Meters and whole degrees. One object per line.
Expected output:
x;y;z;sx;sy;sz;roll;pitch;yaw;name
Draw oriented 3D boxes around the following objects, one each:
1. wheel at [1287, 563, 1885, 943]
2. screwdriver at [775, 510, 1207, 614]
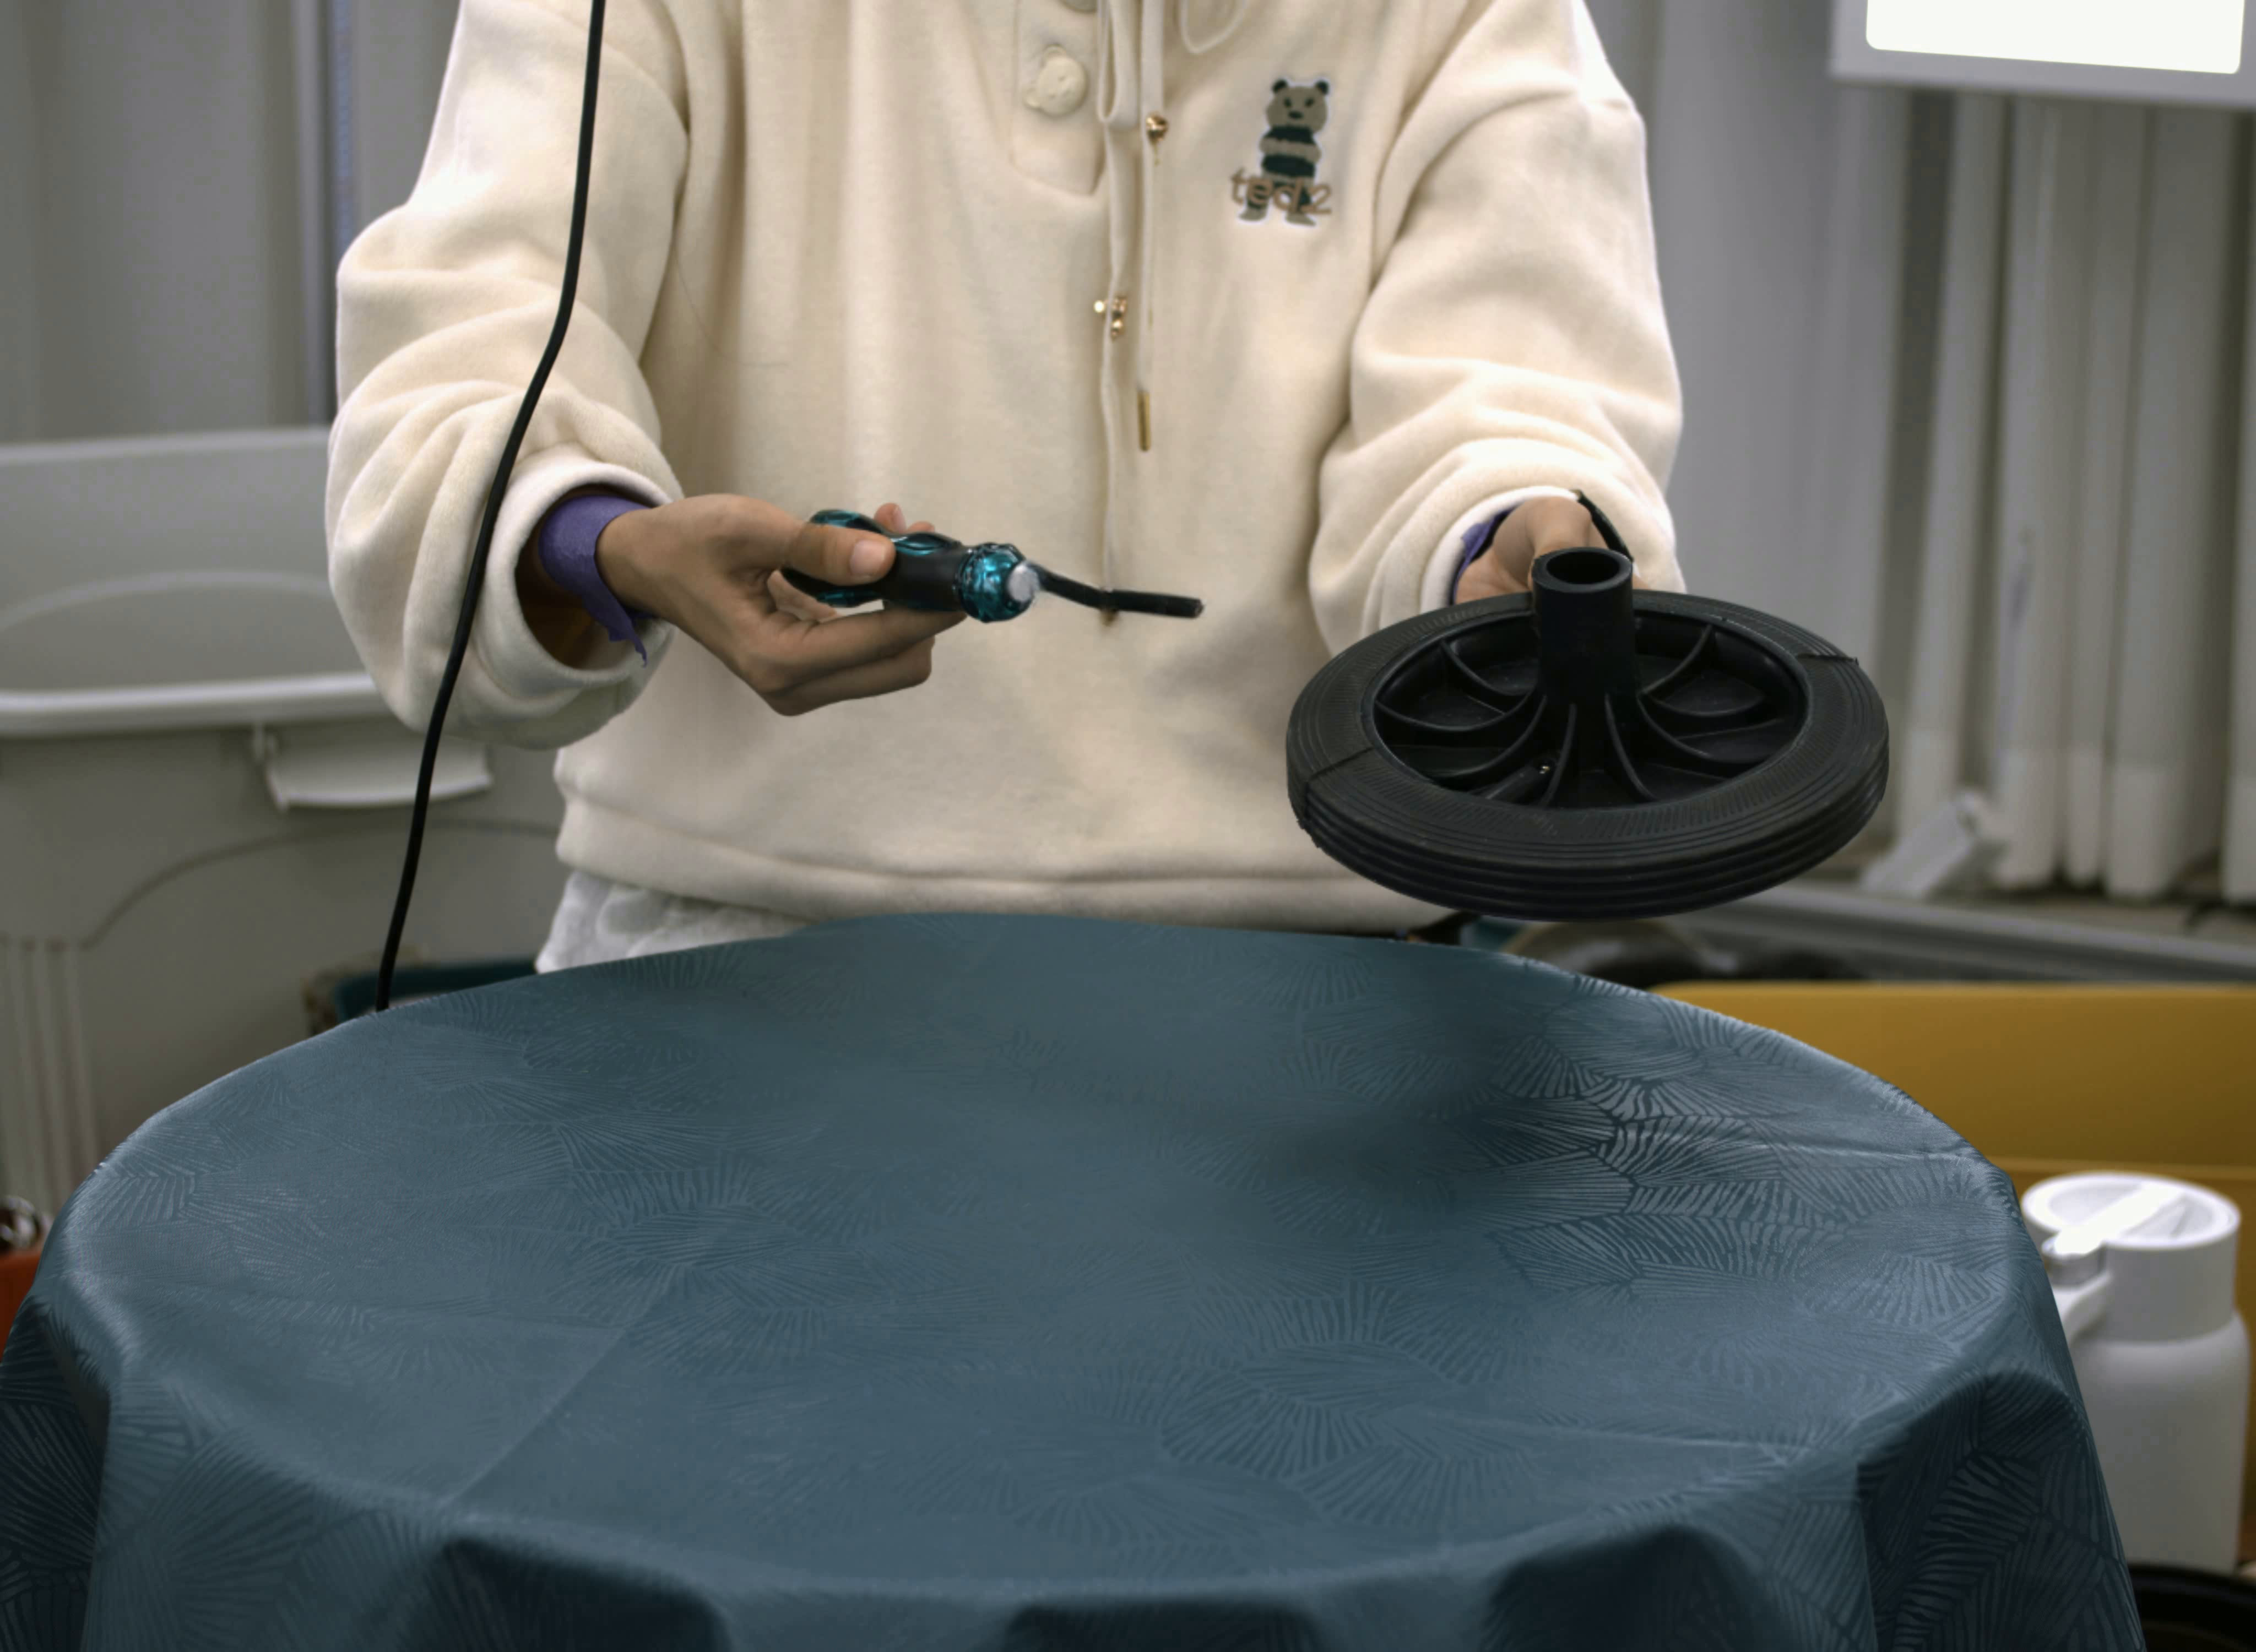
0.141;-0.039;1.632;0.186;0.080;0.189;6;32;15;wheel
-0.043;-0.081;1.683;0.187;0.034;0.034;8;16;44;screwdriver
